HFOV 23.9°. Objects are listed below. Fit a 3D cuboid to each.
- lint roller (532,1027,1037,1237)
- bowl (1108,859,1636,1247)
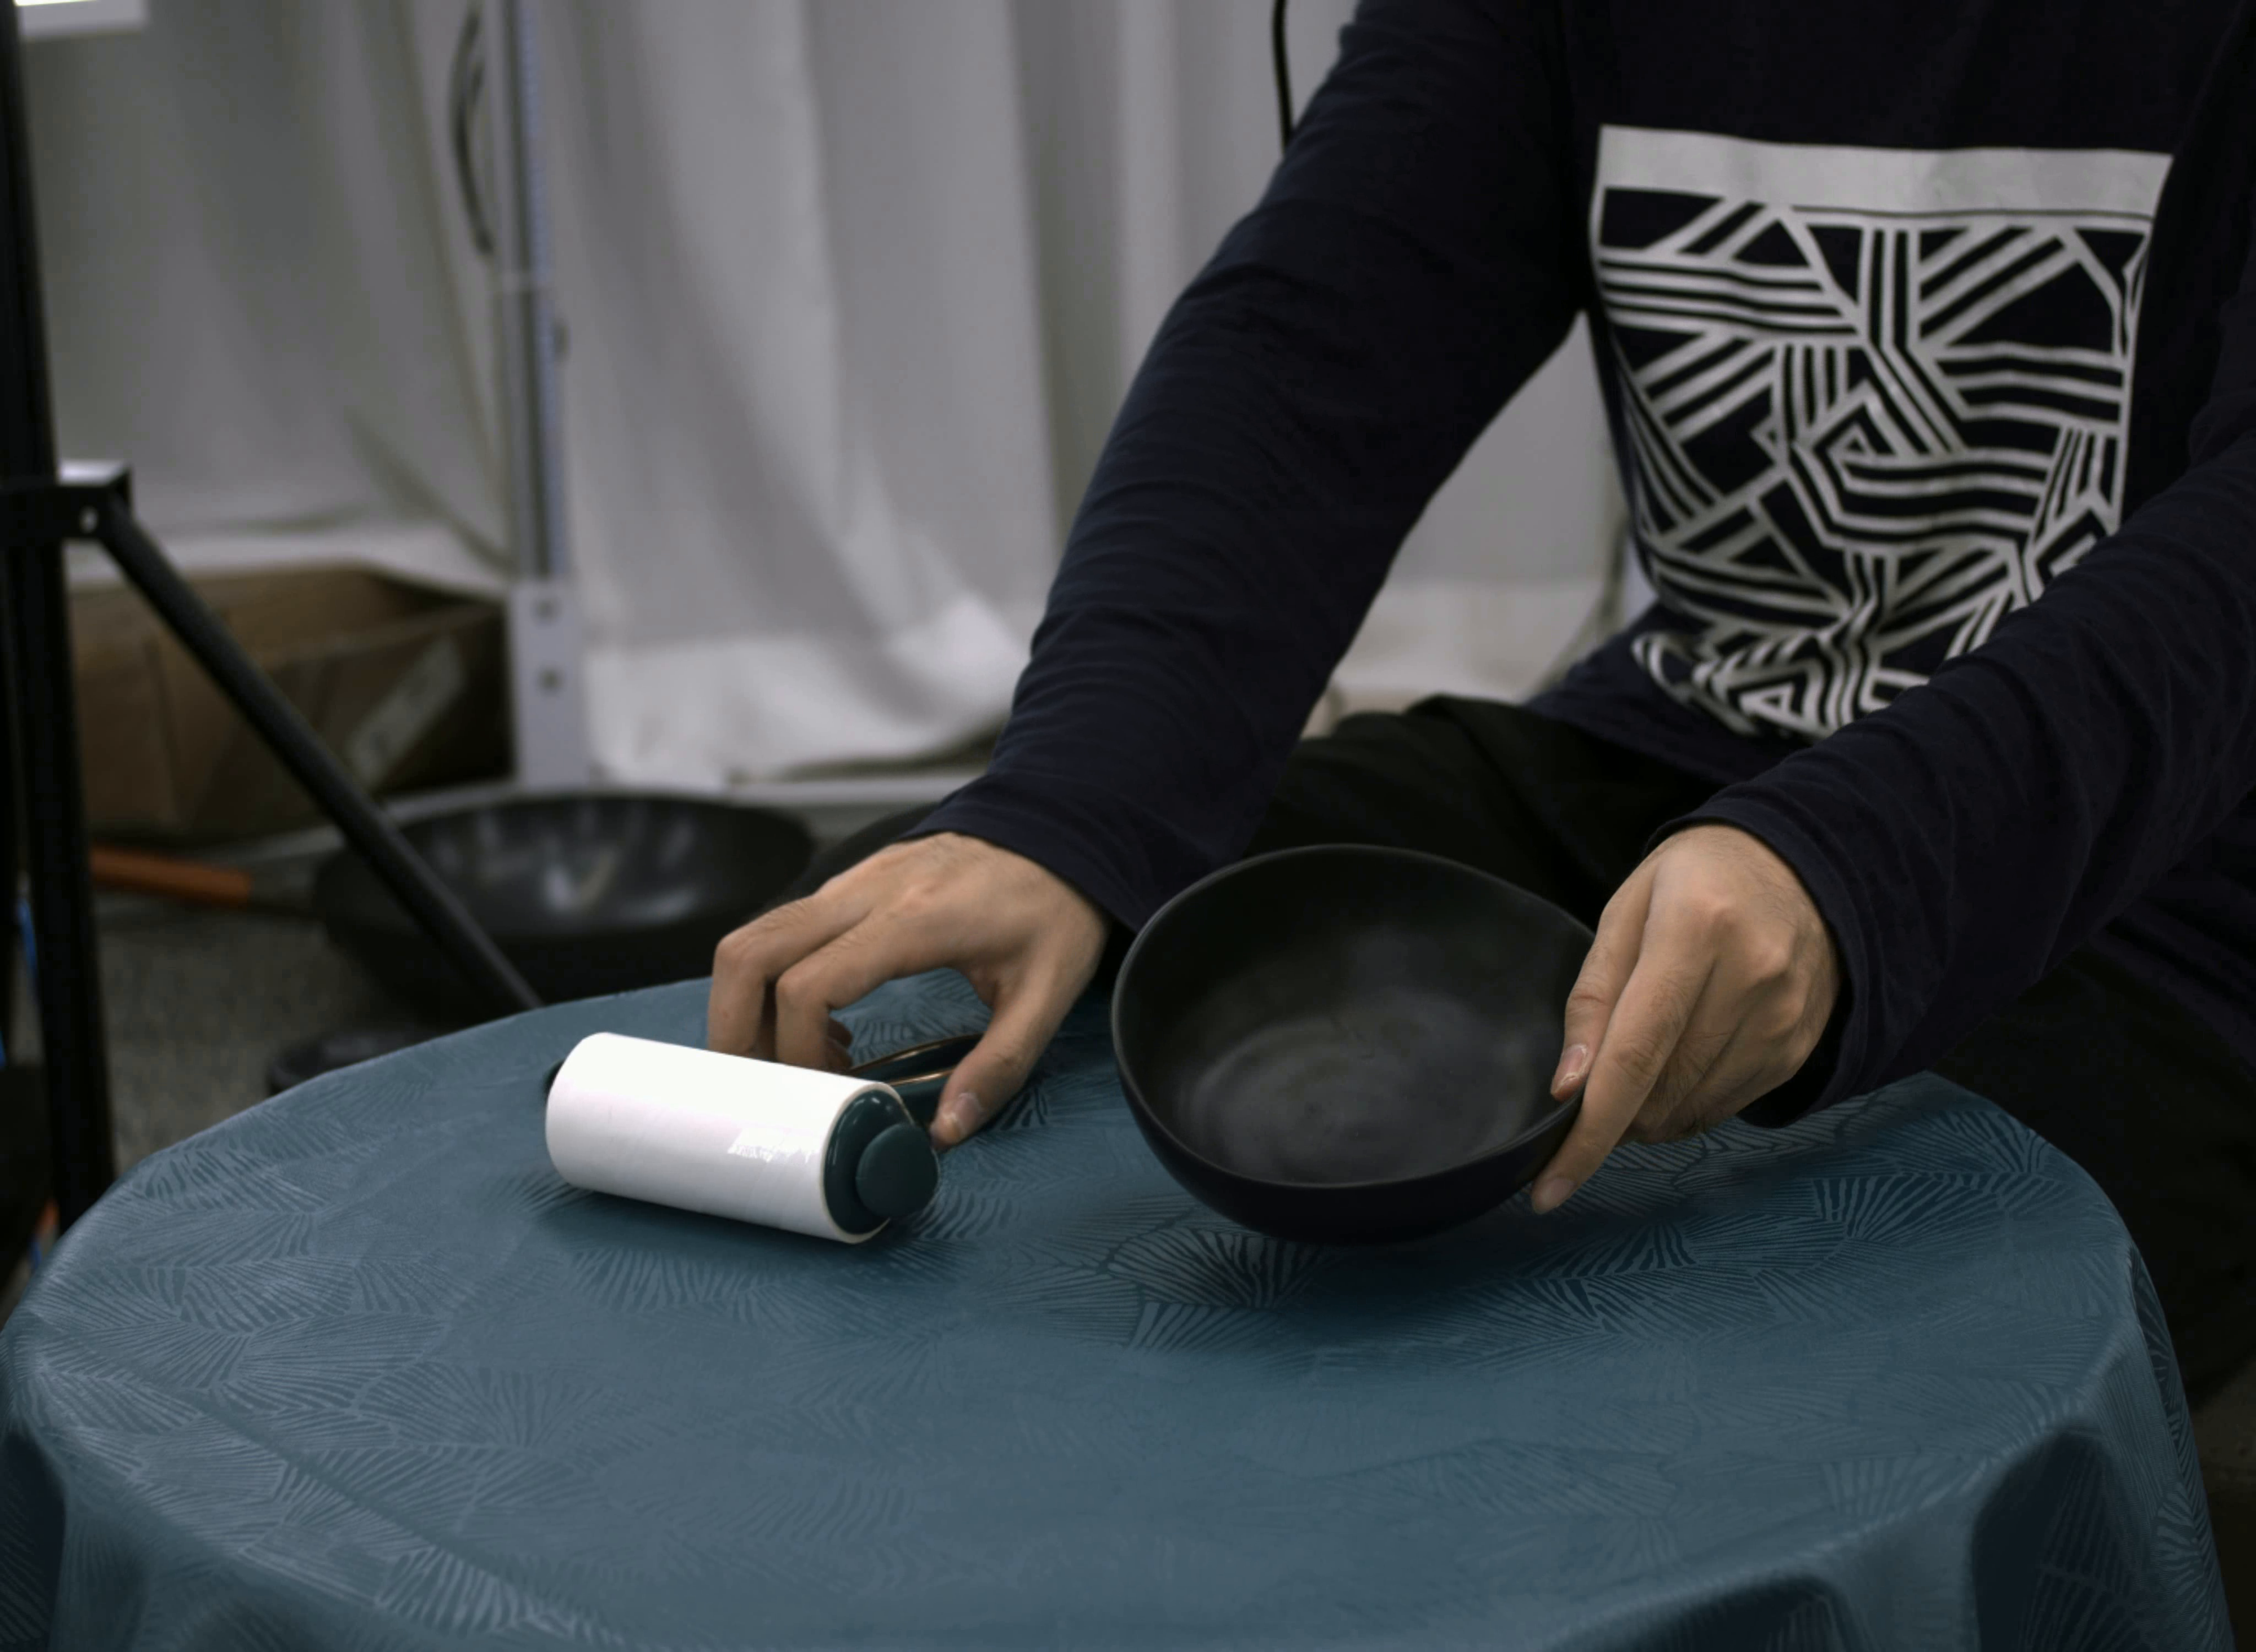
[{"bbox_3d":[-0.081,0.077,1.610,0.137,0.048,0.176,8,15,33],"label":"lint roller"},{"bbox_3d":[0.067,0.073,1.514,0.140,0.066,0.167,31,43,29],"label":"bowl"}]
